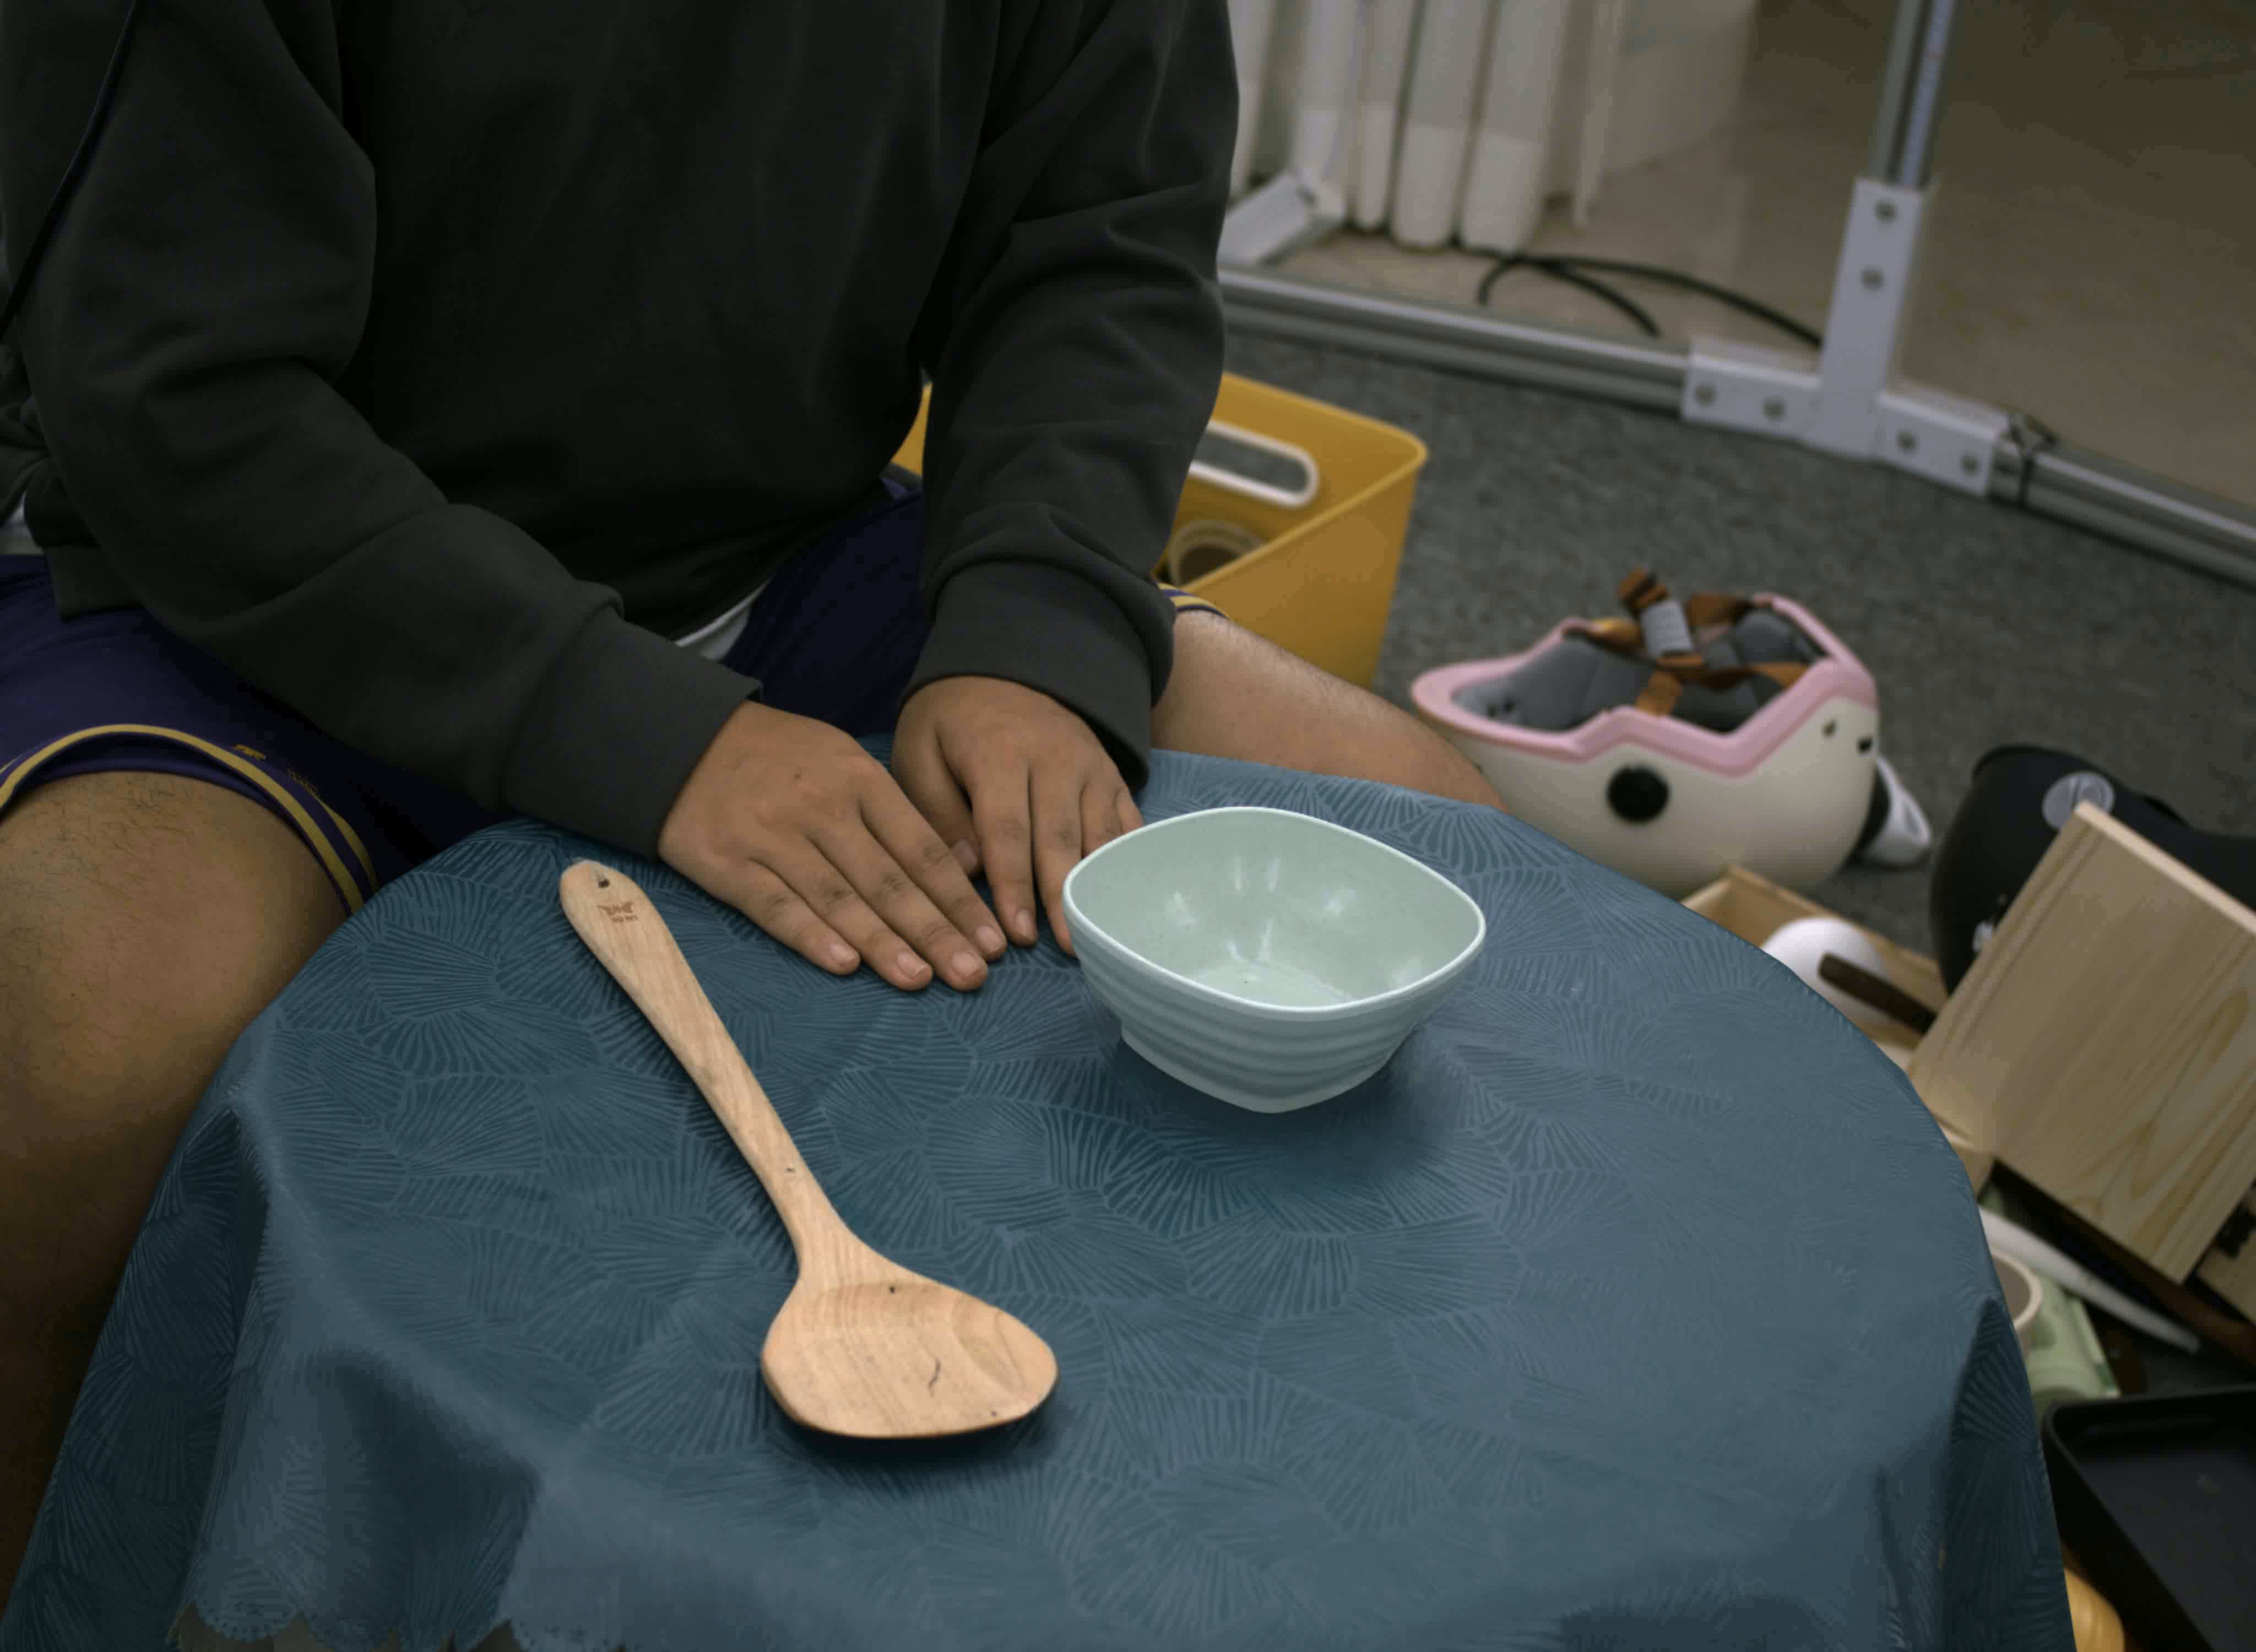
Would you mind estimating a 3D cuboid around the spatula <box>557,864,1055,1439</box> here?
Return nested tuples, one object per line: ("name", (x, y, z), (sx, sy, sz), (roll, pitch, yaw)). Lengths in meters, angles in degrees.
("spatula", (-0.132, 0.103, 1.794), (0.095, 0.018, 0.394), (-4, 29, -23))

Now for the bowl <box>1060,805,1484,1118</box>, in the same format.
("bowl", (0.048, 0.054, 1.890), (0.151, 0.058, 0.152), (6, 28, -4))
